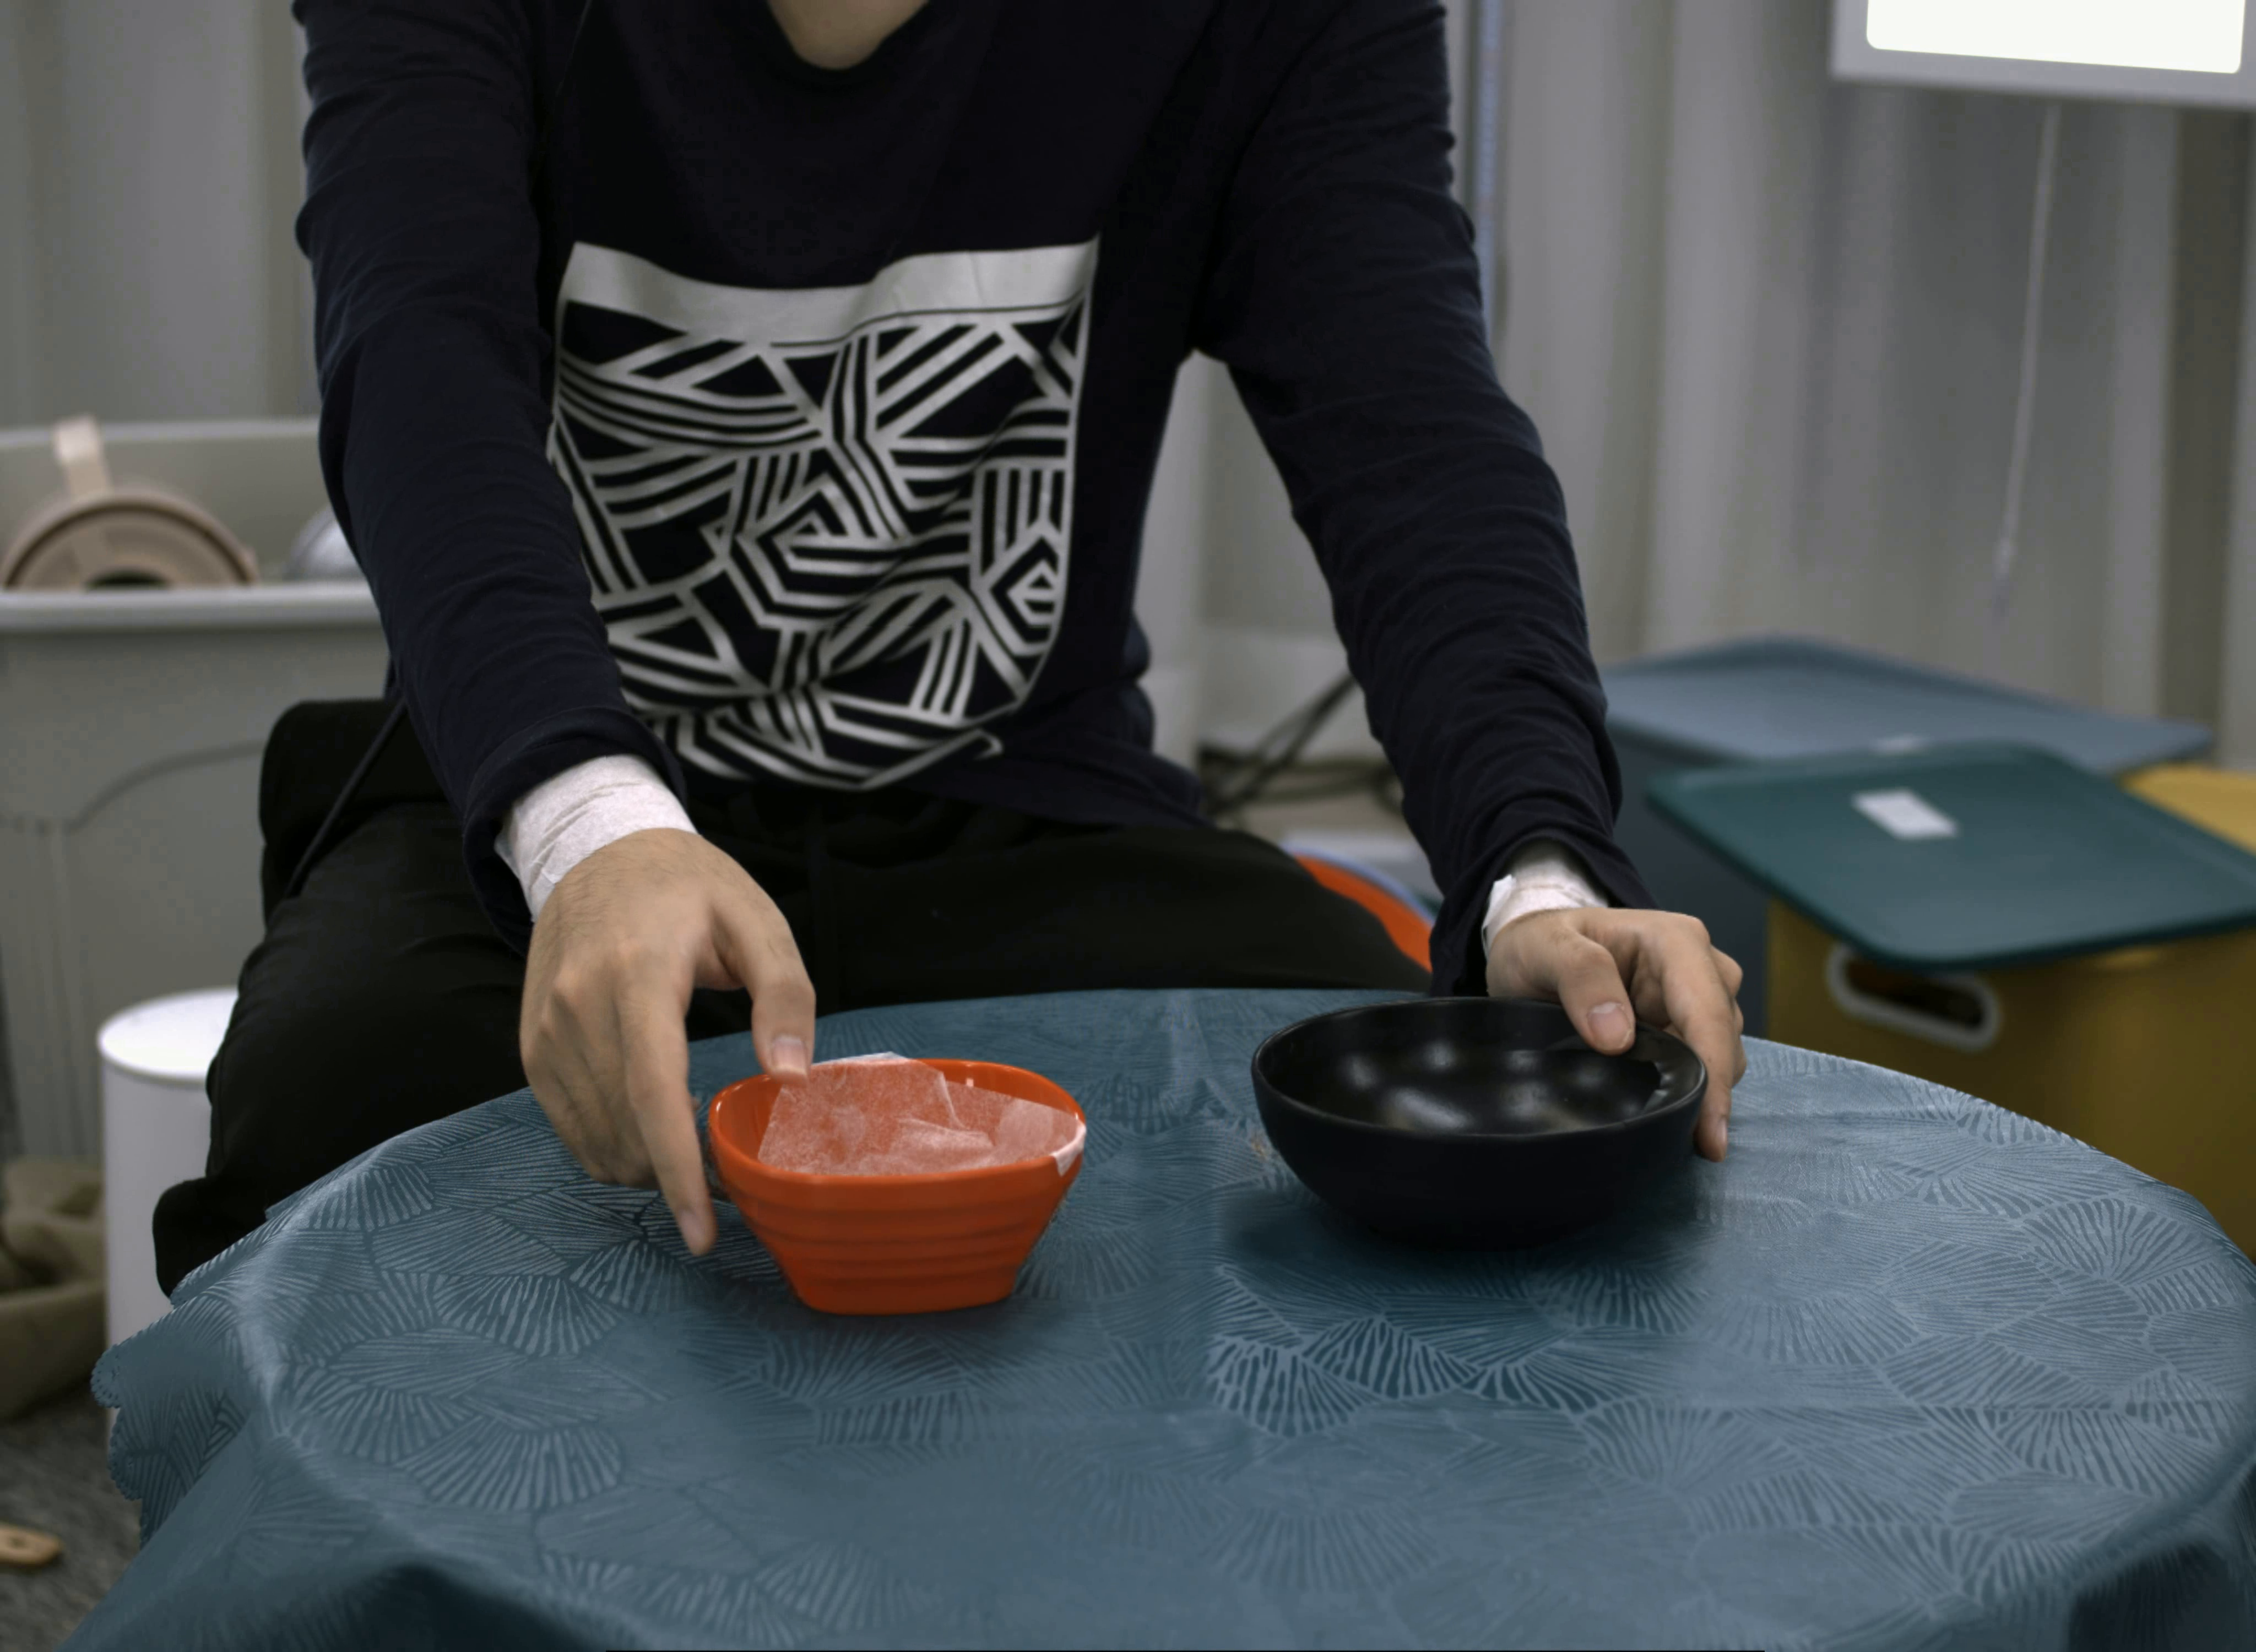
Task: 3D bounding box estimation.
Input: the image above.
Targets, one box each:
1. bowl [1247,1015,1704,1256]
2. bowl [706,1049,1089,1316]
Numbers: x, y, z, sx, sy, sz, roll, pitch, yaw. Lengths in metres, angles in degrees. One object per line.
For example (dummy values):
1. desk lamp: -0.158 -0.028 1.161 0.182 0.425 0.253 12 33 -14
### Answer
1. bowl: 0.106 0.097 1.601 0.139 0.050 0.139 -1 12 1
2. bowl: -0.067 0.107 1.543 0.118 0.052 0.118 0 17 1
